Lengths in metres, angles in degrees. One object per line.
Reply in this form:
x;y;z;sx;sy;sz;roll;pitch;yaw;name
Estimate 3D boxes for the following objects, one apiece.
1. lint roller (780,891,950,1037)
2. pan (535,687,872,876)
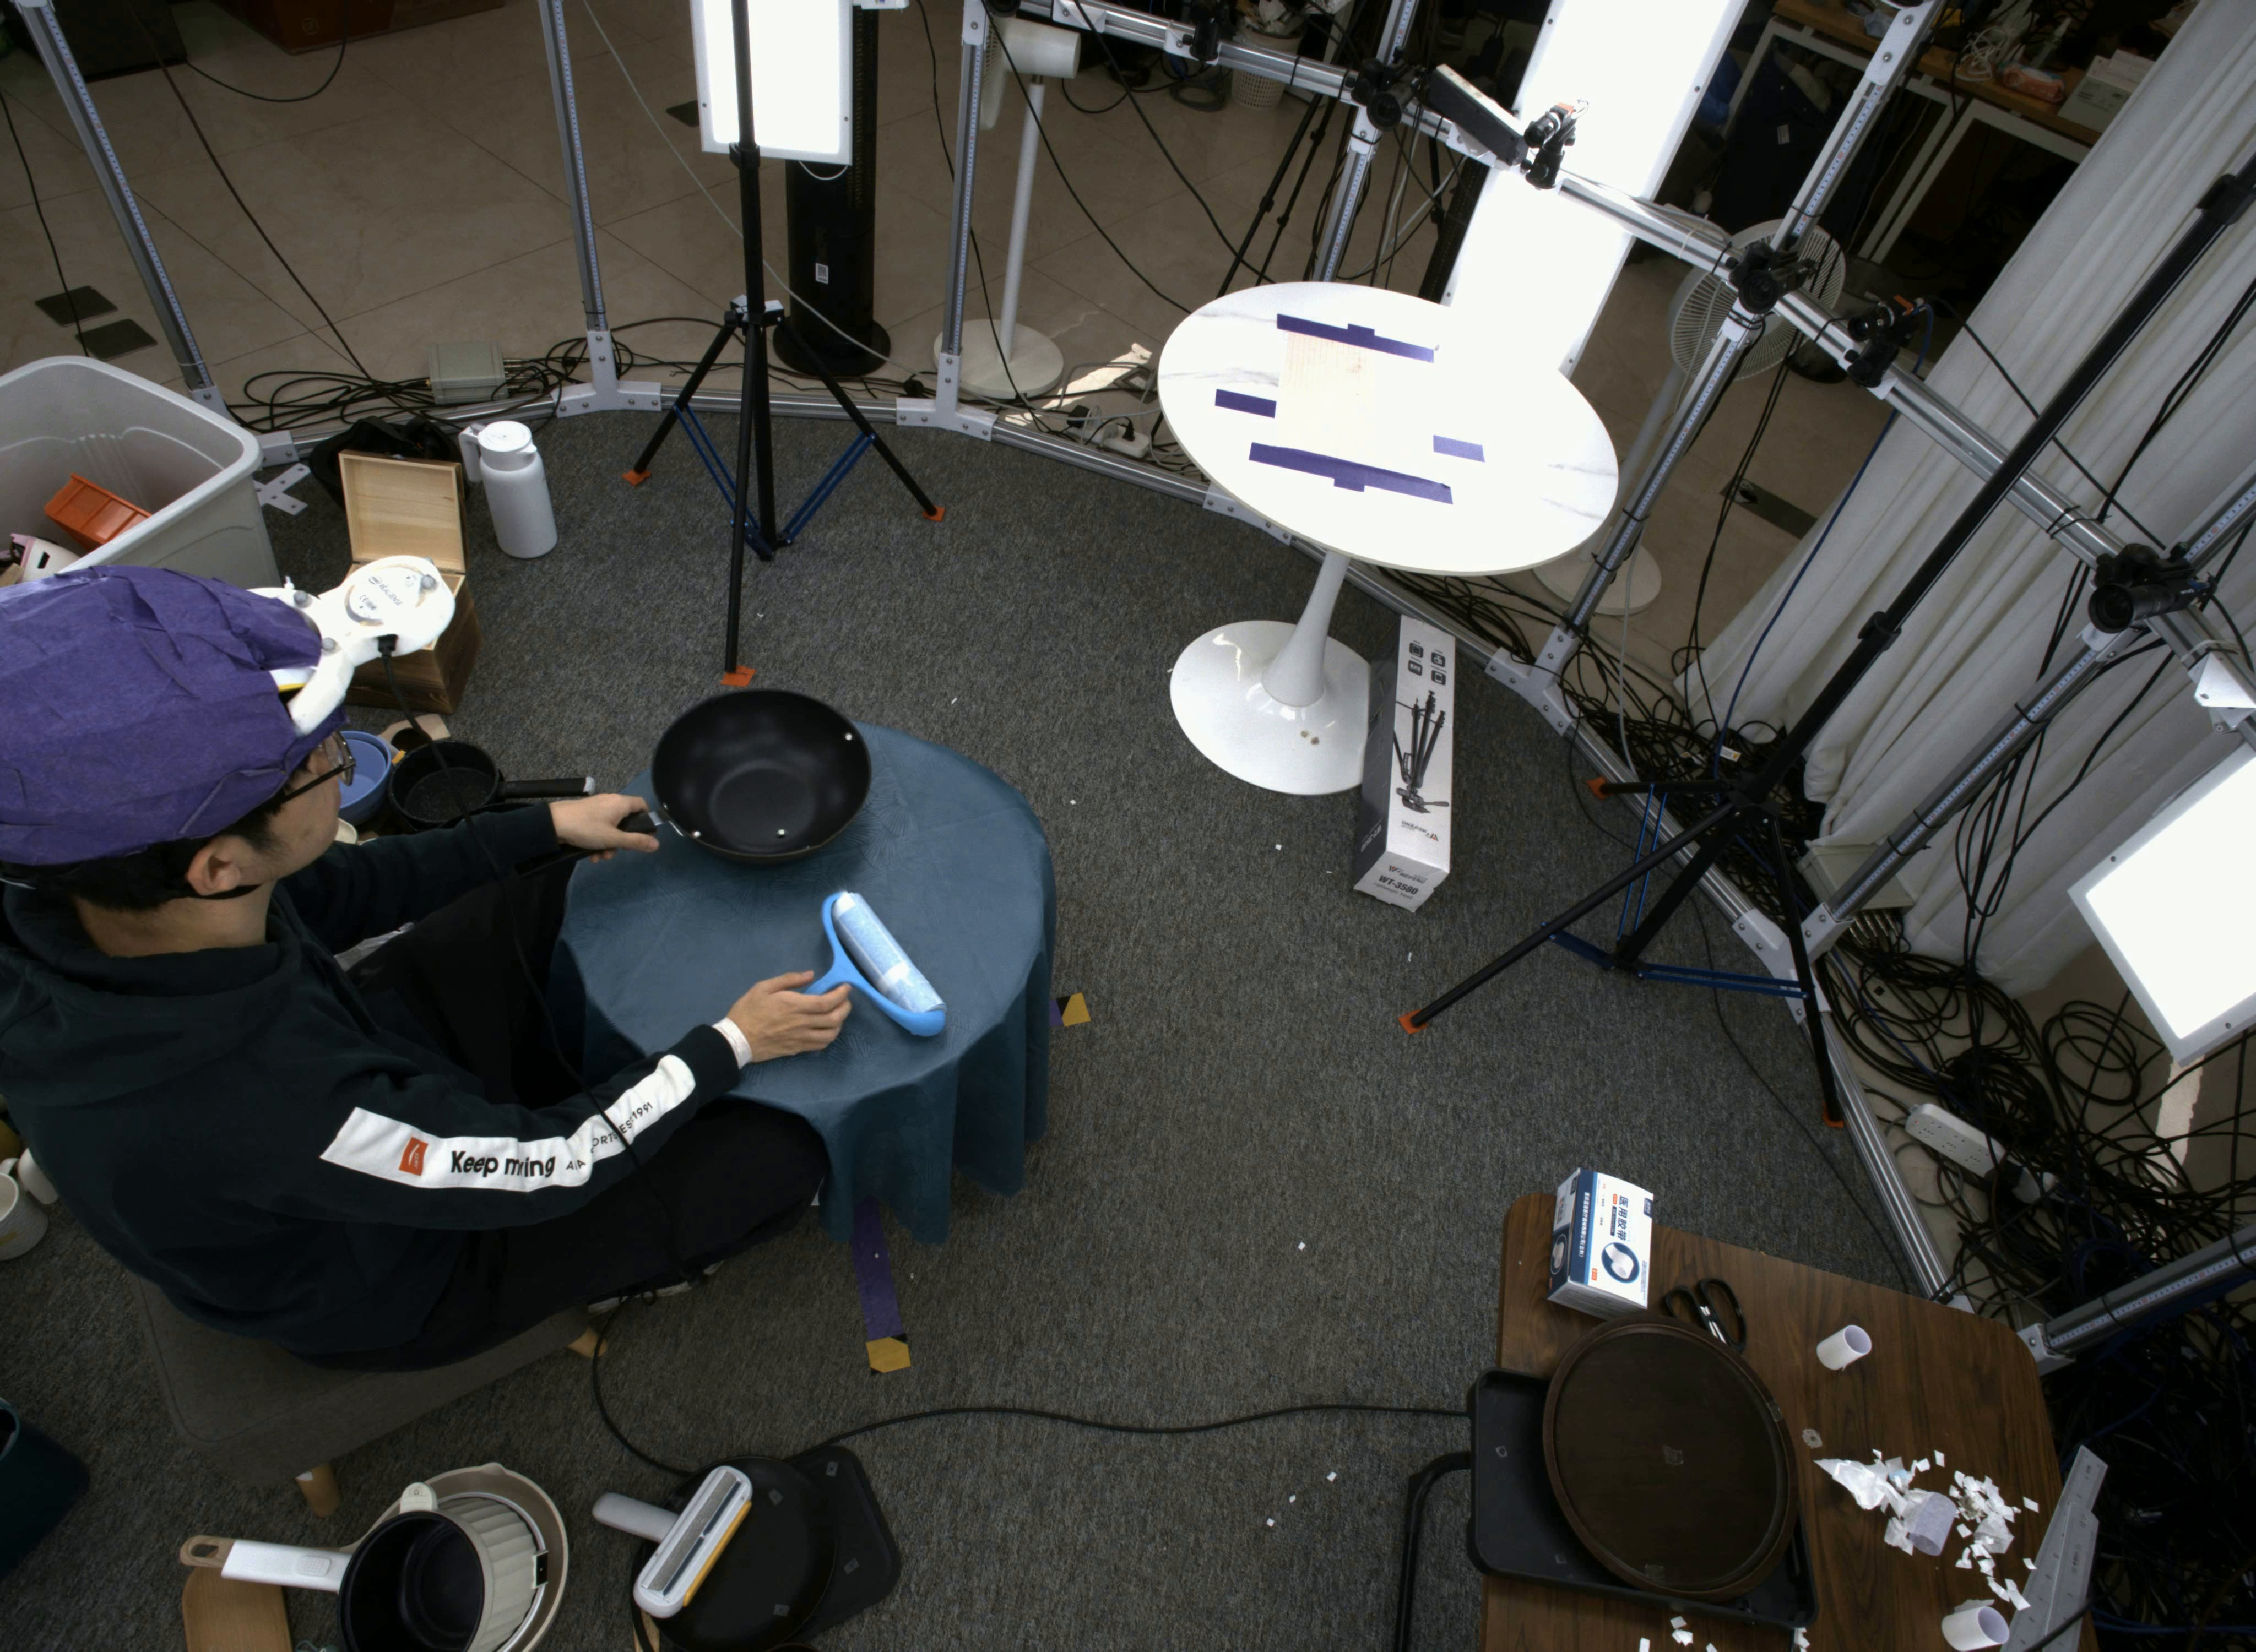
-0.341;0.190;1.575;0.181;0.069;0.224;-33;70;-33;lint roller
-0.549;-0.016;1.656;0.465;0.088;0.281;-27;64;-29;pan
